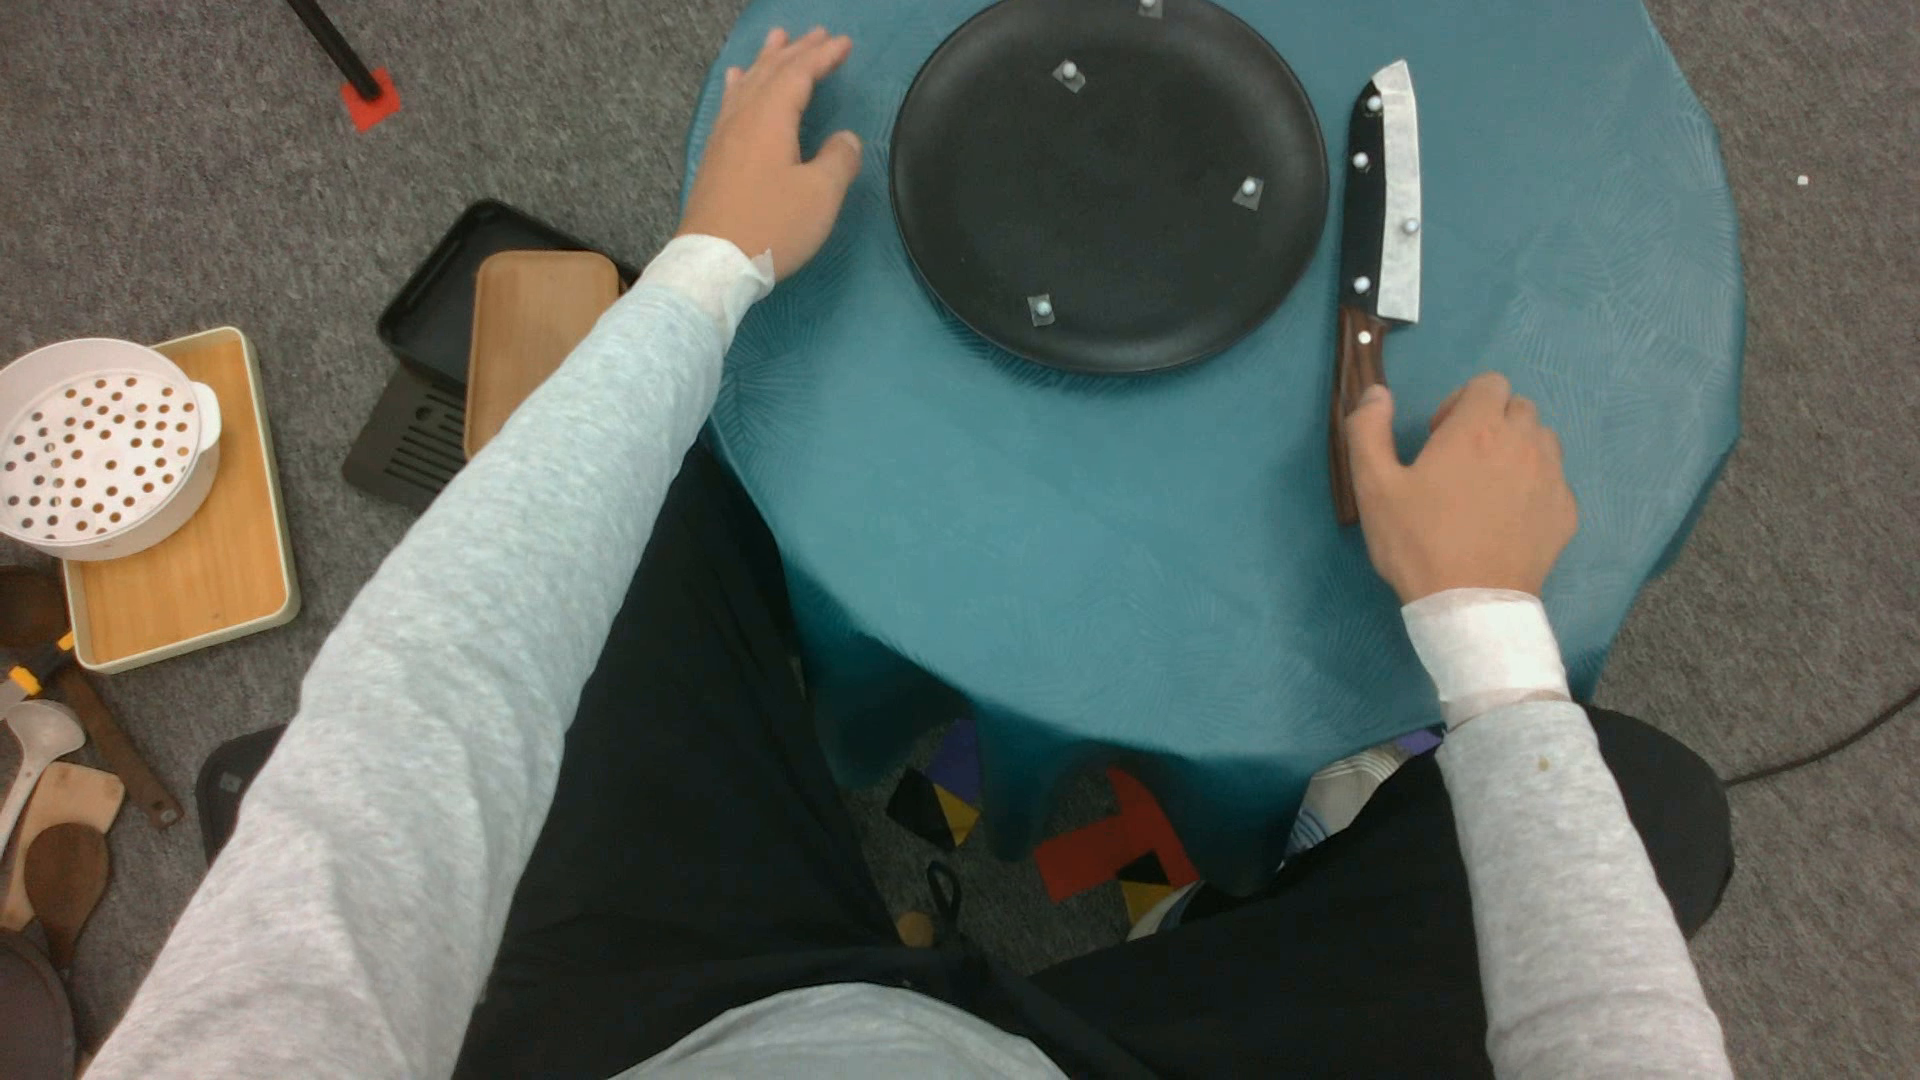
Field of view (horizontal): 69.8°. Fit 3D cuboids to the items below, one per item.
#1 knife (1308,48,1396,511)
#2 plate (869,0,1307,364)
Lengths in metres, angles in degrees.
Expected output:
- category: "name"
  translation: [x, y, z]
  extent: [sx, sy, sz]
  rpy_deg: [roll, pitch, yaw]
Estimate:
- category: "knife"
  translation: [0.218, -0.152, 0.764]
  extent: [0.050, 0.020, 0.290]
  rpy_deg: [10, 73, -5]
- category: "plate"
  translation: [0.071, -0.209, 0.770]
  extent: [0.244, 0.023, 0.245]
  rpy_deg: [0, 76, -2]
